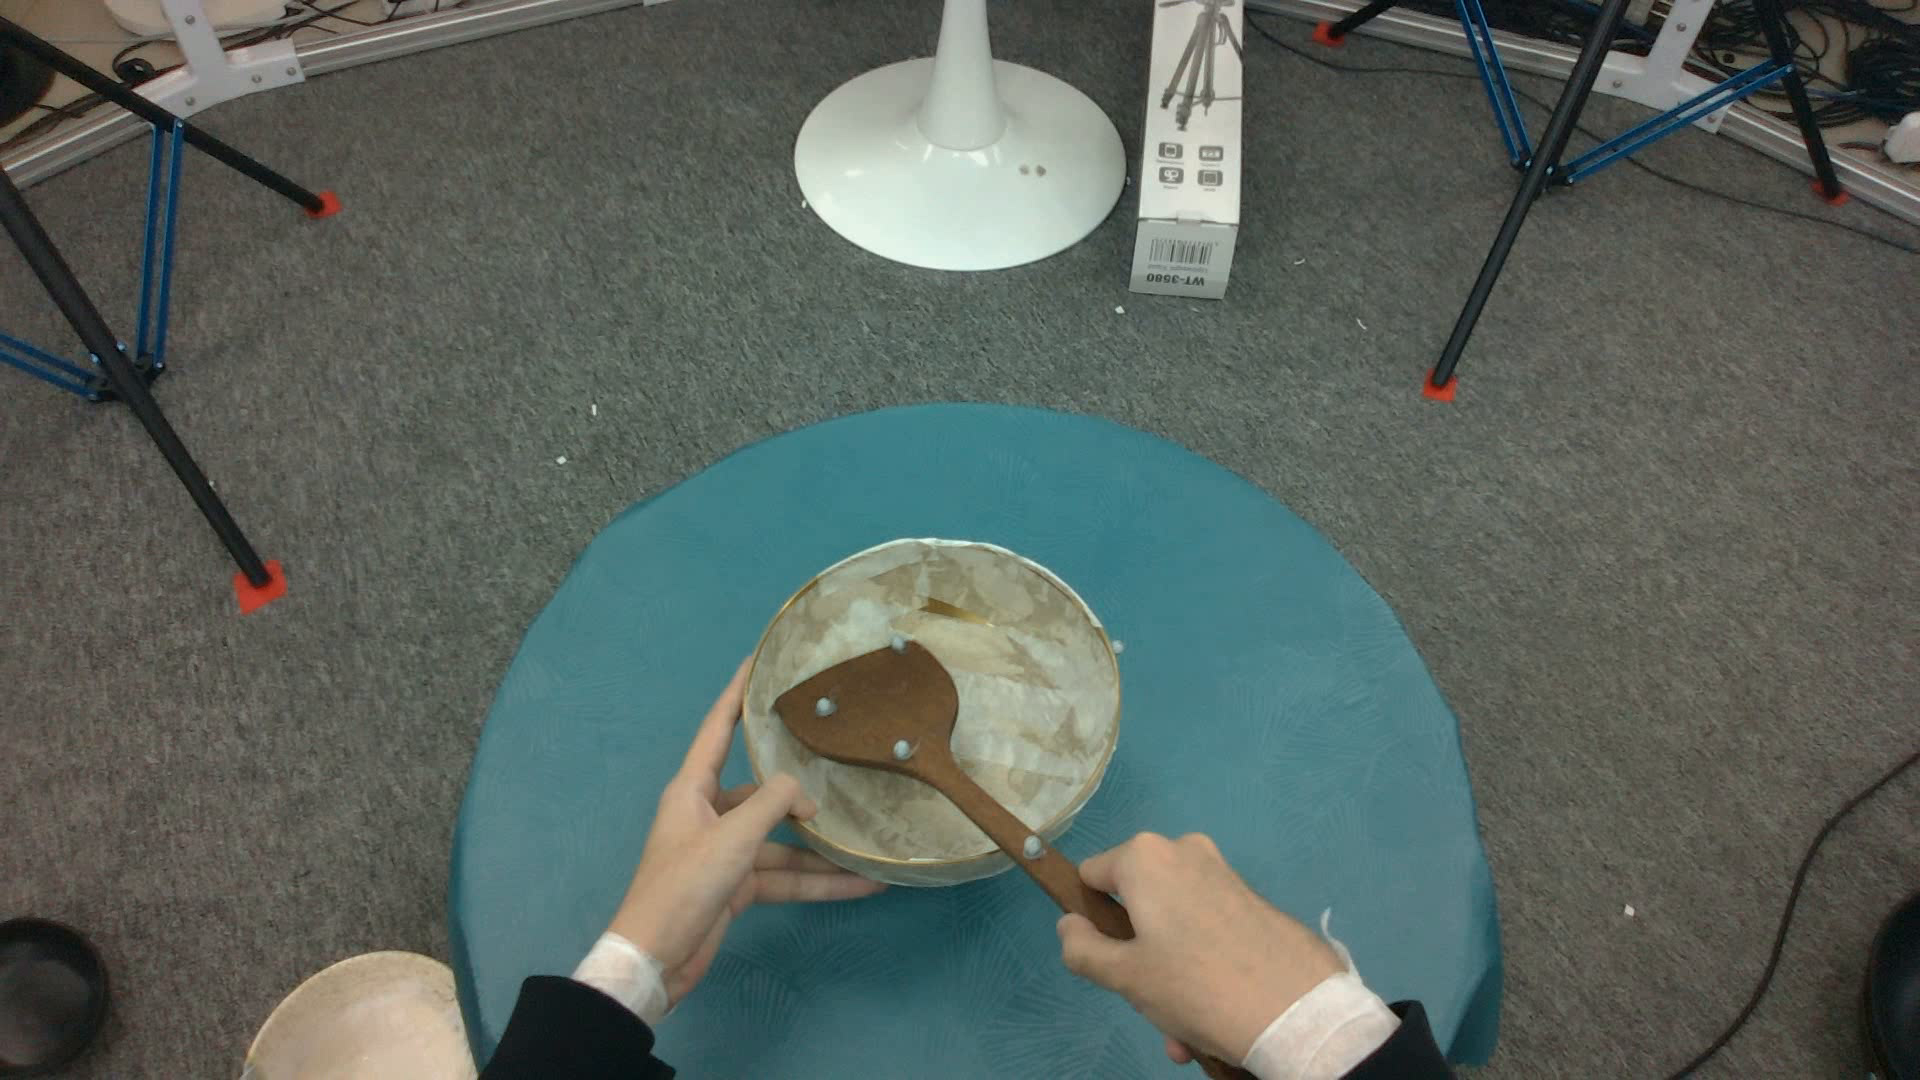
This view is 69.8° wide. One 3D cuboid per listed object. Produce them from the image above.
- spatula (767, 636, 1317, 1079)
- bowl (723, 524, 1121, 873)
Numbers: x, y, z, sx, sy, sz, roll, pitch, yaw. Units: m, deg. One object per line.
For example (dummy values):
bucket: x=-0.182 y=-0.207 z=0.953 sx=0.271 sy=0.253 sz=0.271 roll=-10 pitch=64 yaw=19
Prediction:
spatula: x=0.024 y=0.133 z=0.637 sx=0.096 sy=0.016 sz=0.386 roll=-23 pitch=29 yaw=-24
bowl: x=-0.022 y=0.099 z=0.755 sx=0.215 sy=0.094 sz=0.215 roll=1 pitch=53 yaw=-1
